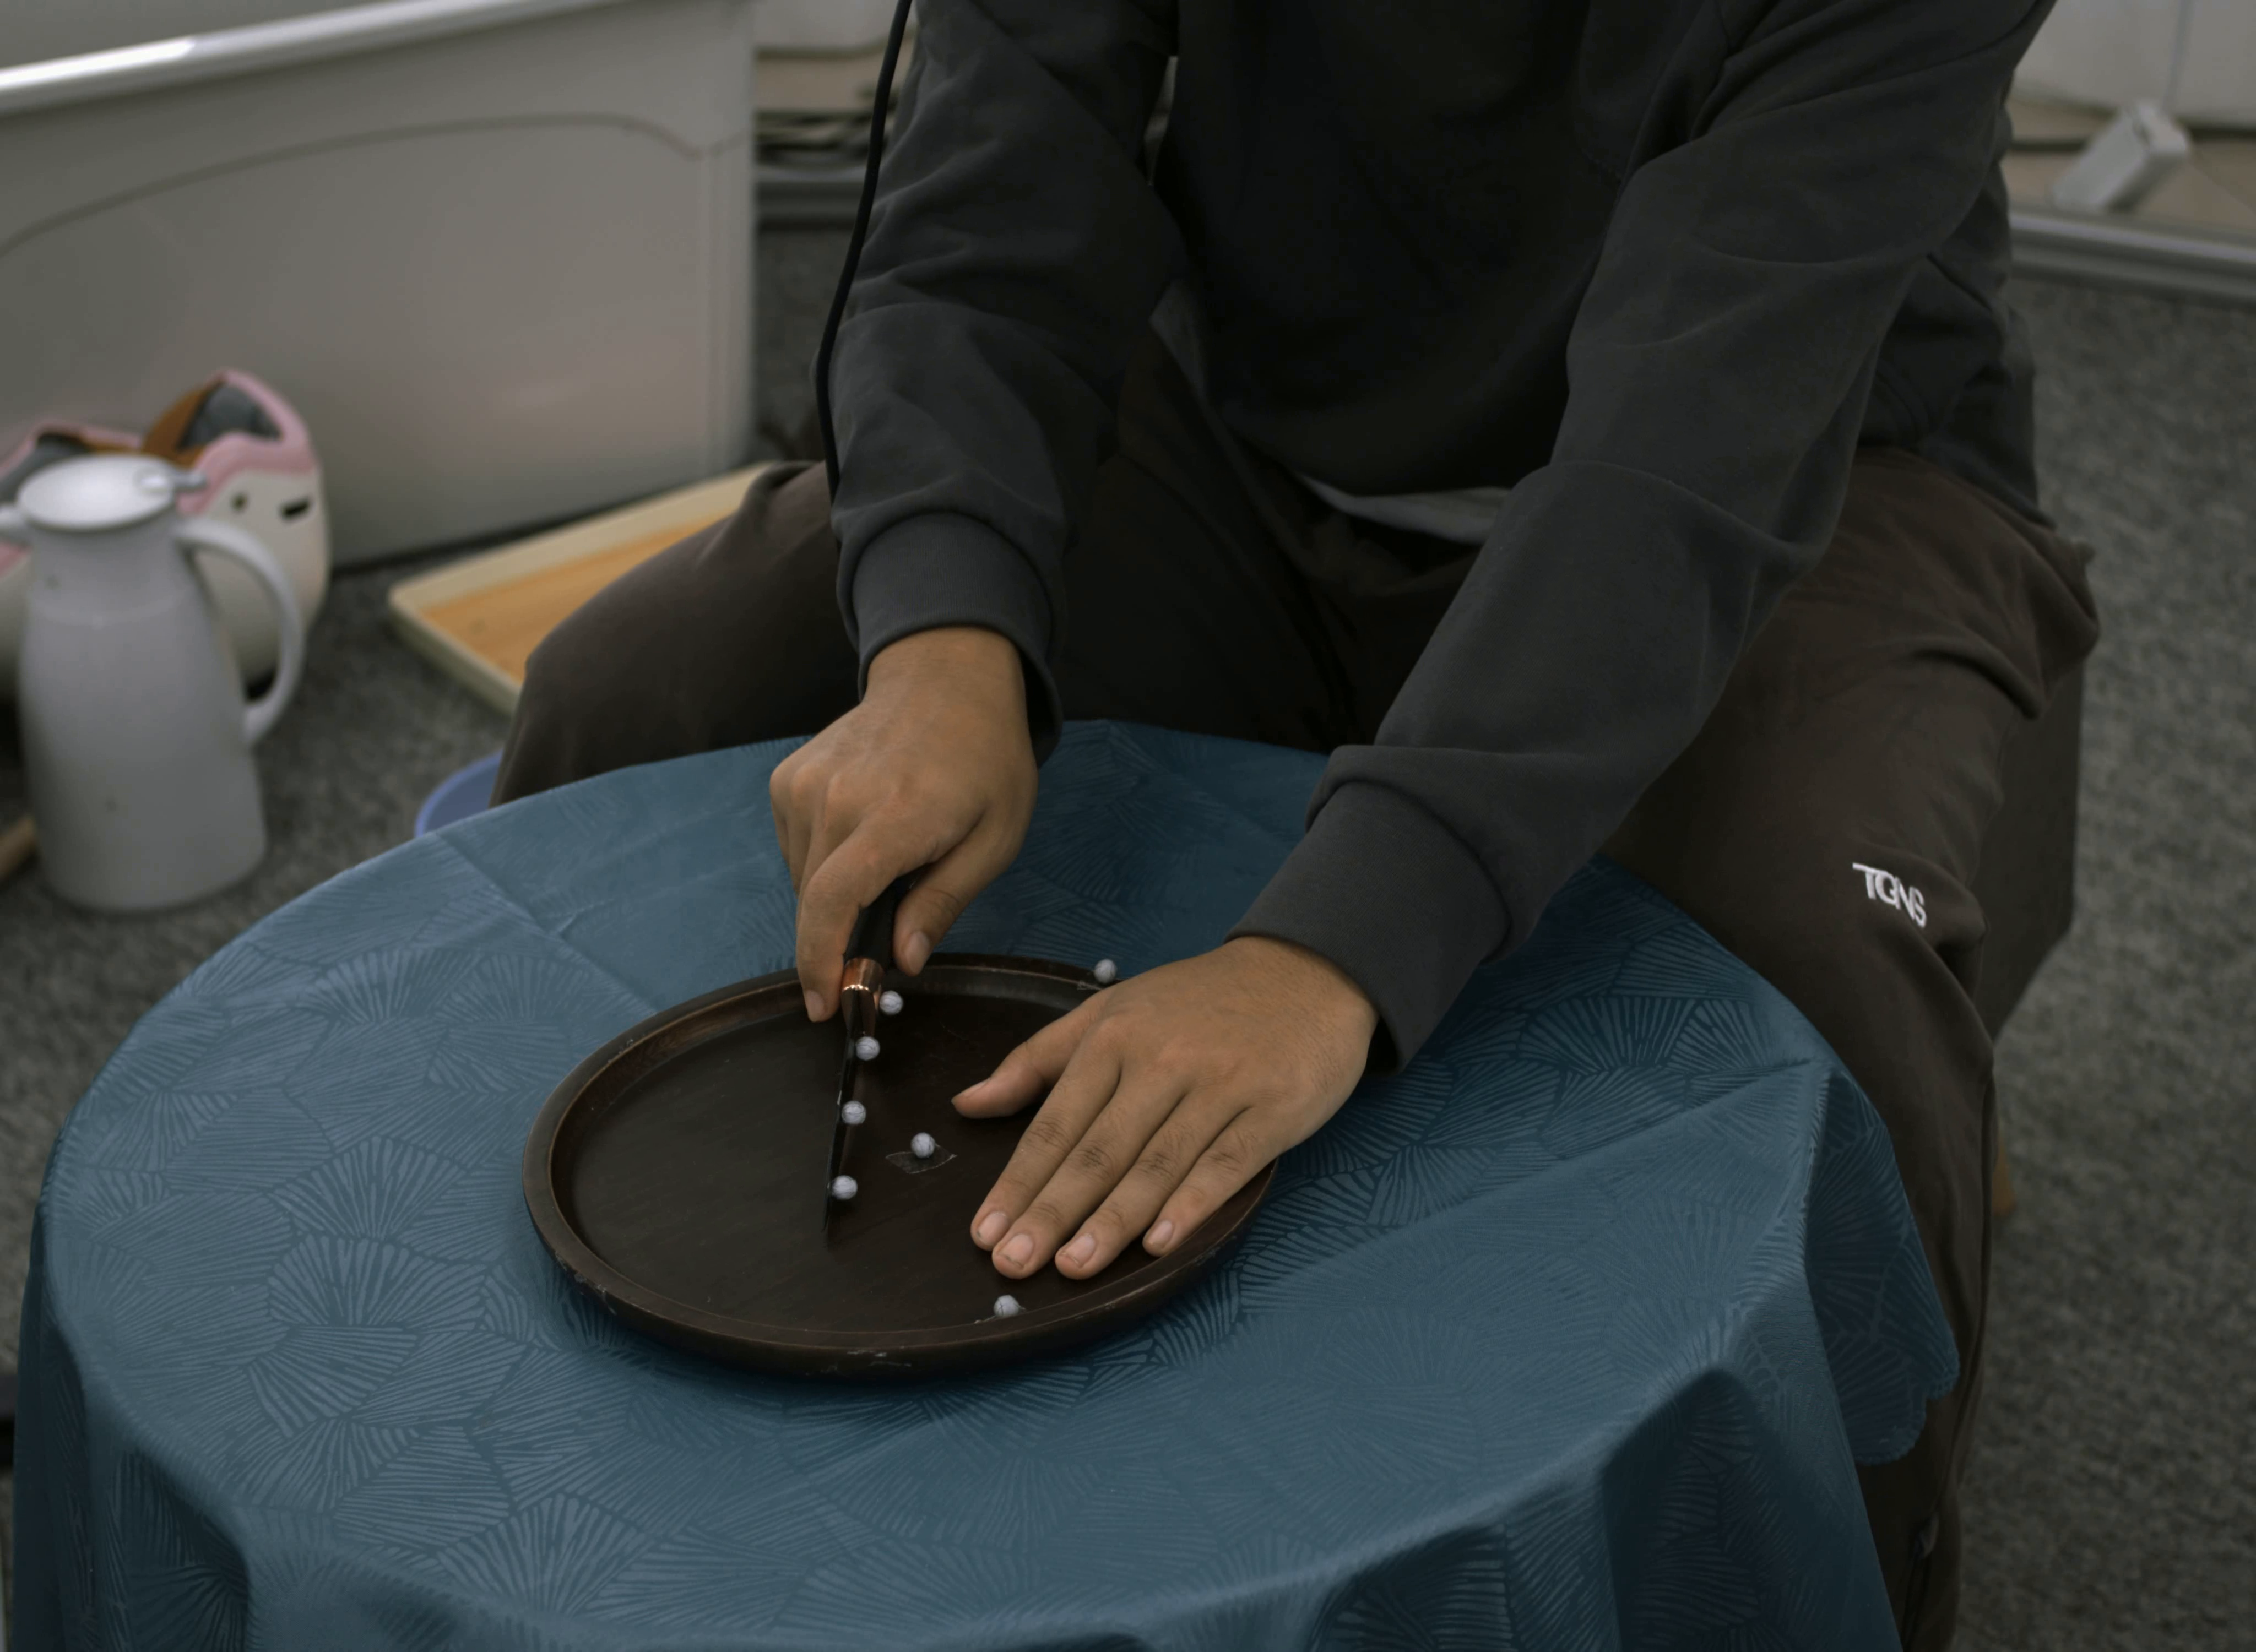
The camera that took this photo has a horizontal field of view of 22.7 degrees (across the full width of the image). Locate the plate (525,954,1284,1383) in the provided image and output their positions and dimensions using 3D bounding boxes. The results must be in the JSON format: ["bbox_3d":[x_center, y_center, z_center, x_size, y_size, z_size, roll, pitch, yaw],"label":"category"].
[{"bbox_3d":[-0.074,0.112,1.865,0.253,0.029,0.258,-2,26,2],"label":"plate"}]

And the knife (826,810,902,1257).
[{"bbox_3d":[-0.092,0.069,1.913,0.017,0.026,0.230,0,37,3],"label":"knife"}]
